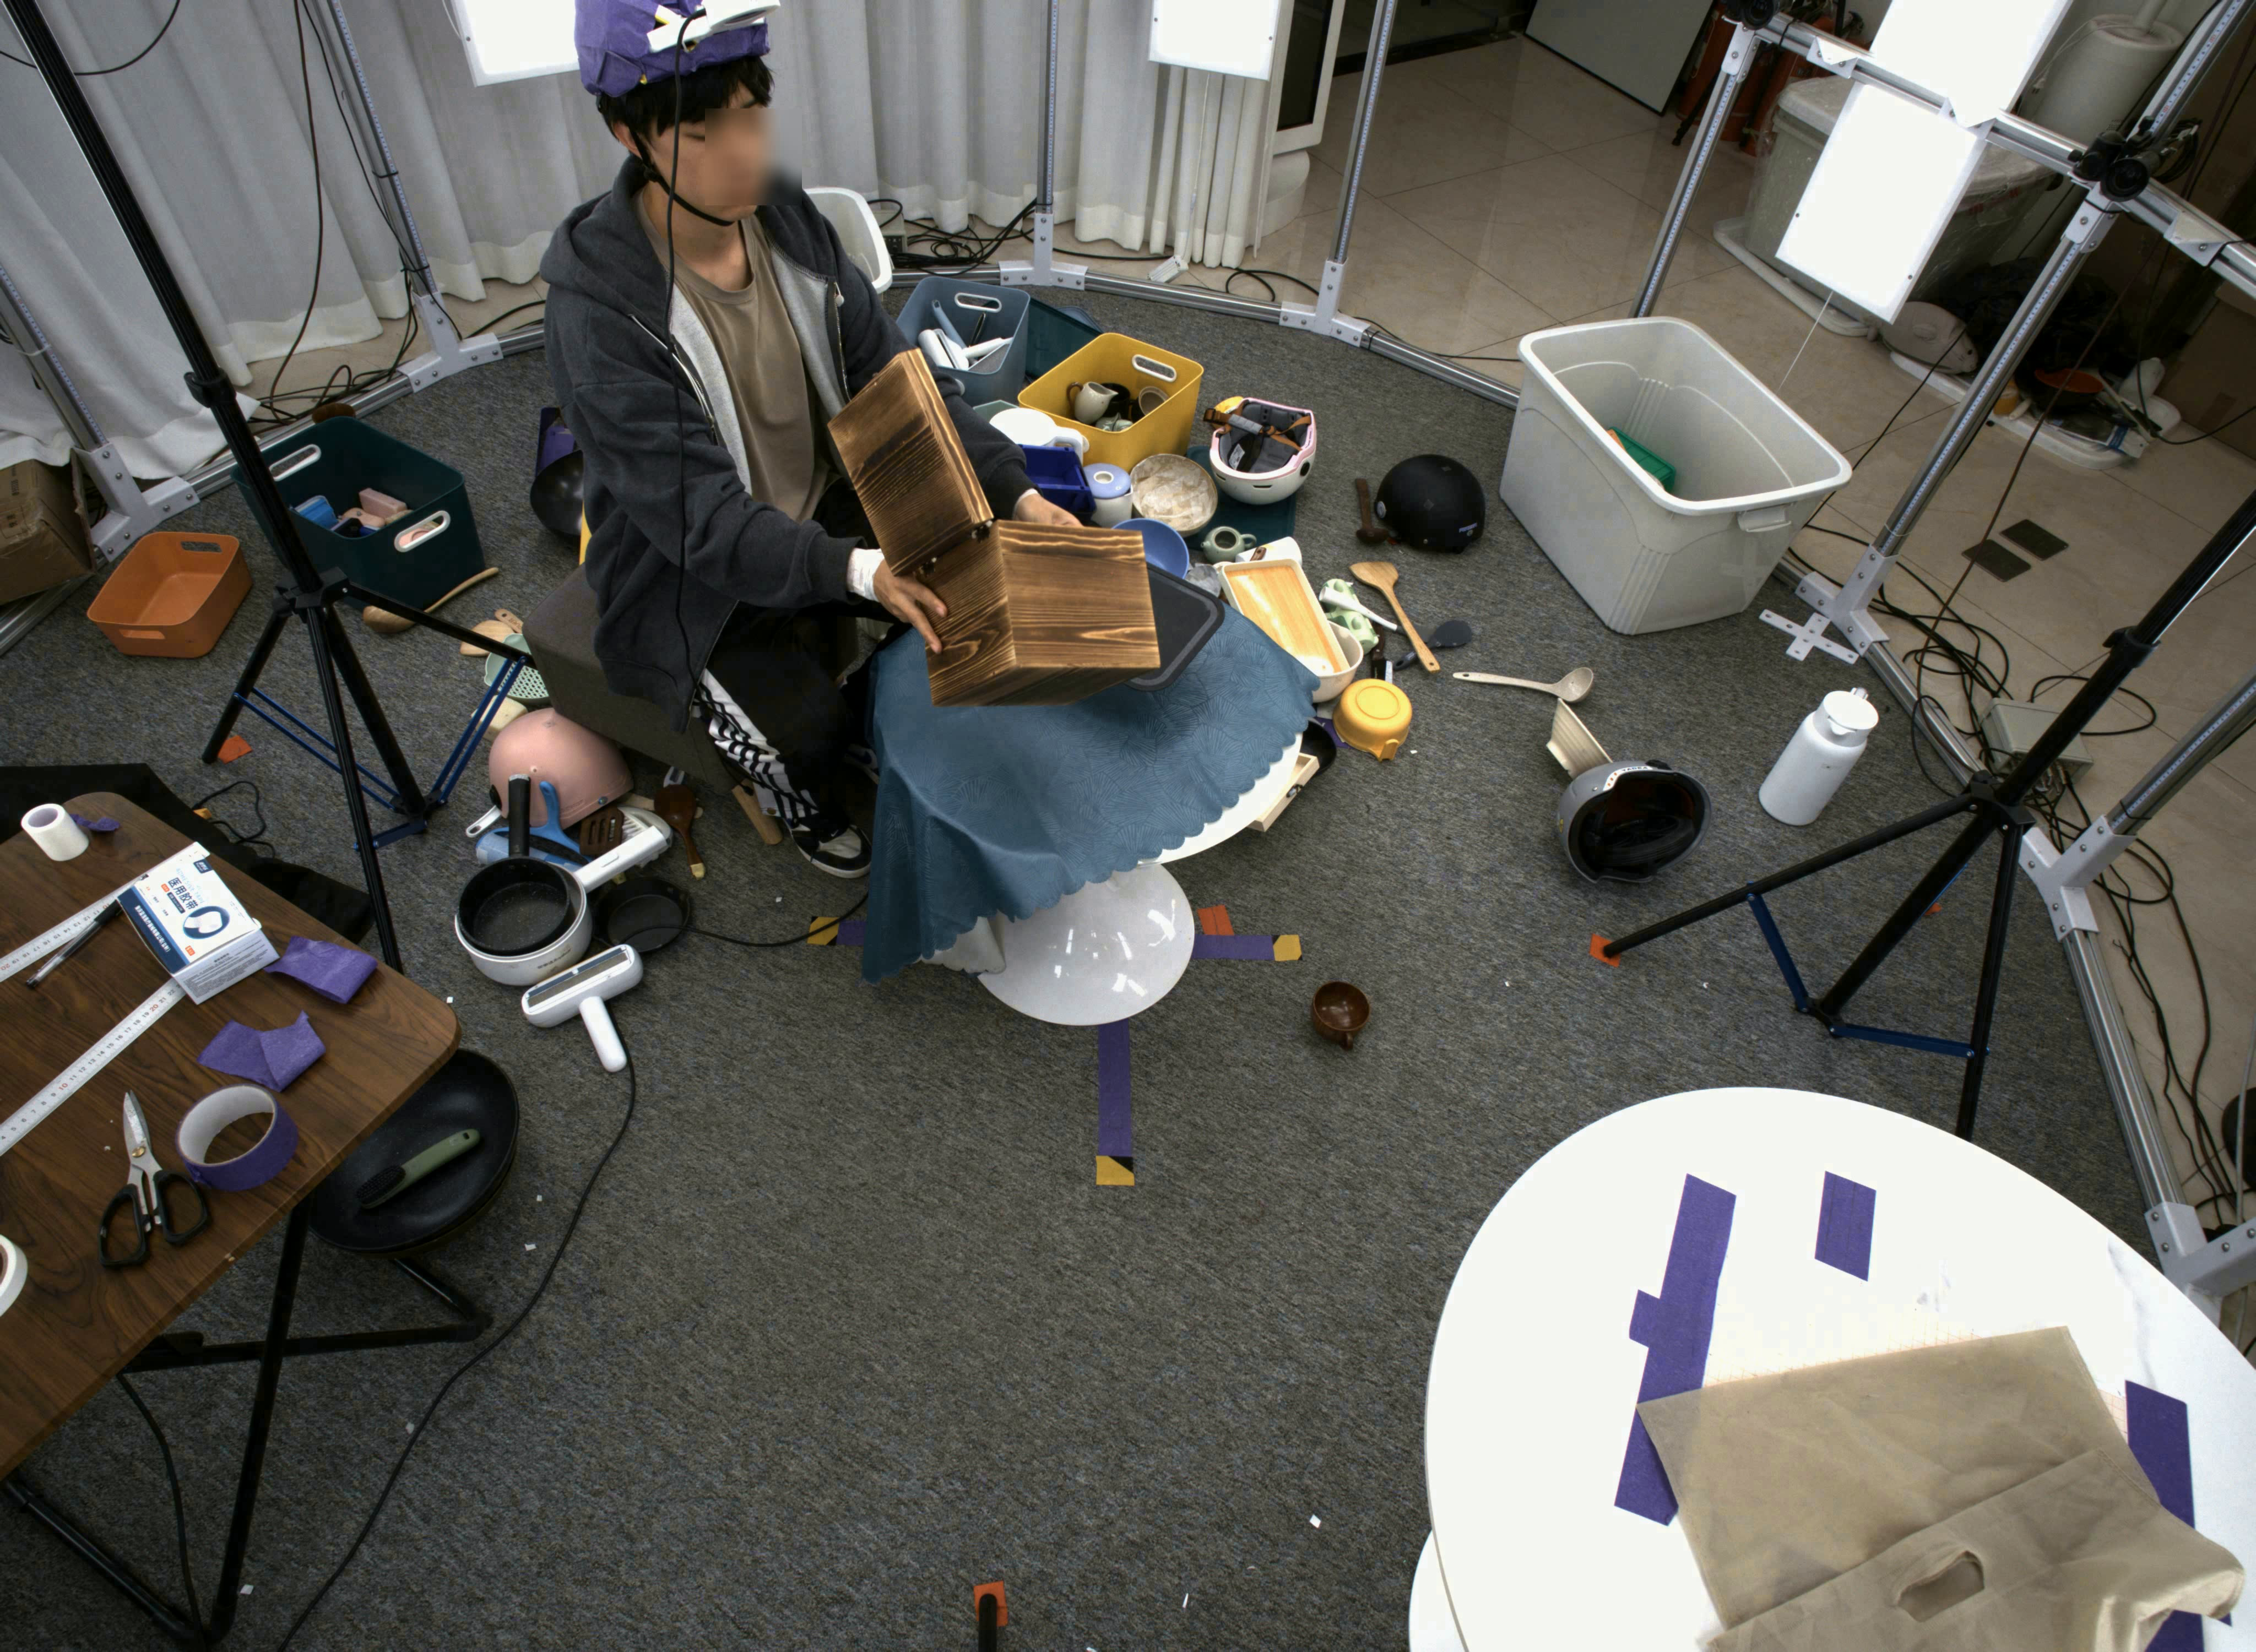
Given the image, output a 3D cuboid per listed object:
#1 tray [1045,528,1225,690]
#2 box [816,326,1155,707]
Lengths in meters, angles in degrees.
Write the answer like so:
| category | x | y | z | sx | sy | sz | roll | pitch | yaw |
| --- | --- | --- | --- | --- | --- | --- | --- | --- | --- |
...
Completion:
| category | x | y | z | sx | sy | sz | roll | pitch | yaw |
| --- | --- | --- | --- | --- | --- | --- | --- | --- | --- |
| tray | -0.038 | -0.315 | 1.819 | 0.328 | 0.009 | 0.214 | 29 | 59 | 18 |
| box | -0.164 | -0.337 | 1.508 | 0.321 | 0.208 | 0.377 | -4 | 84 | -36 |
